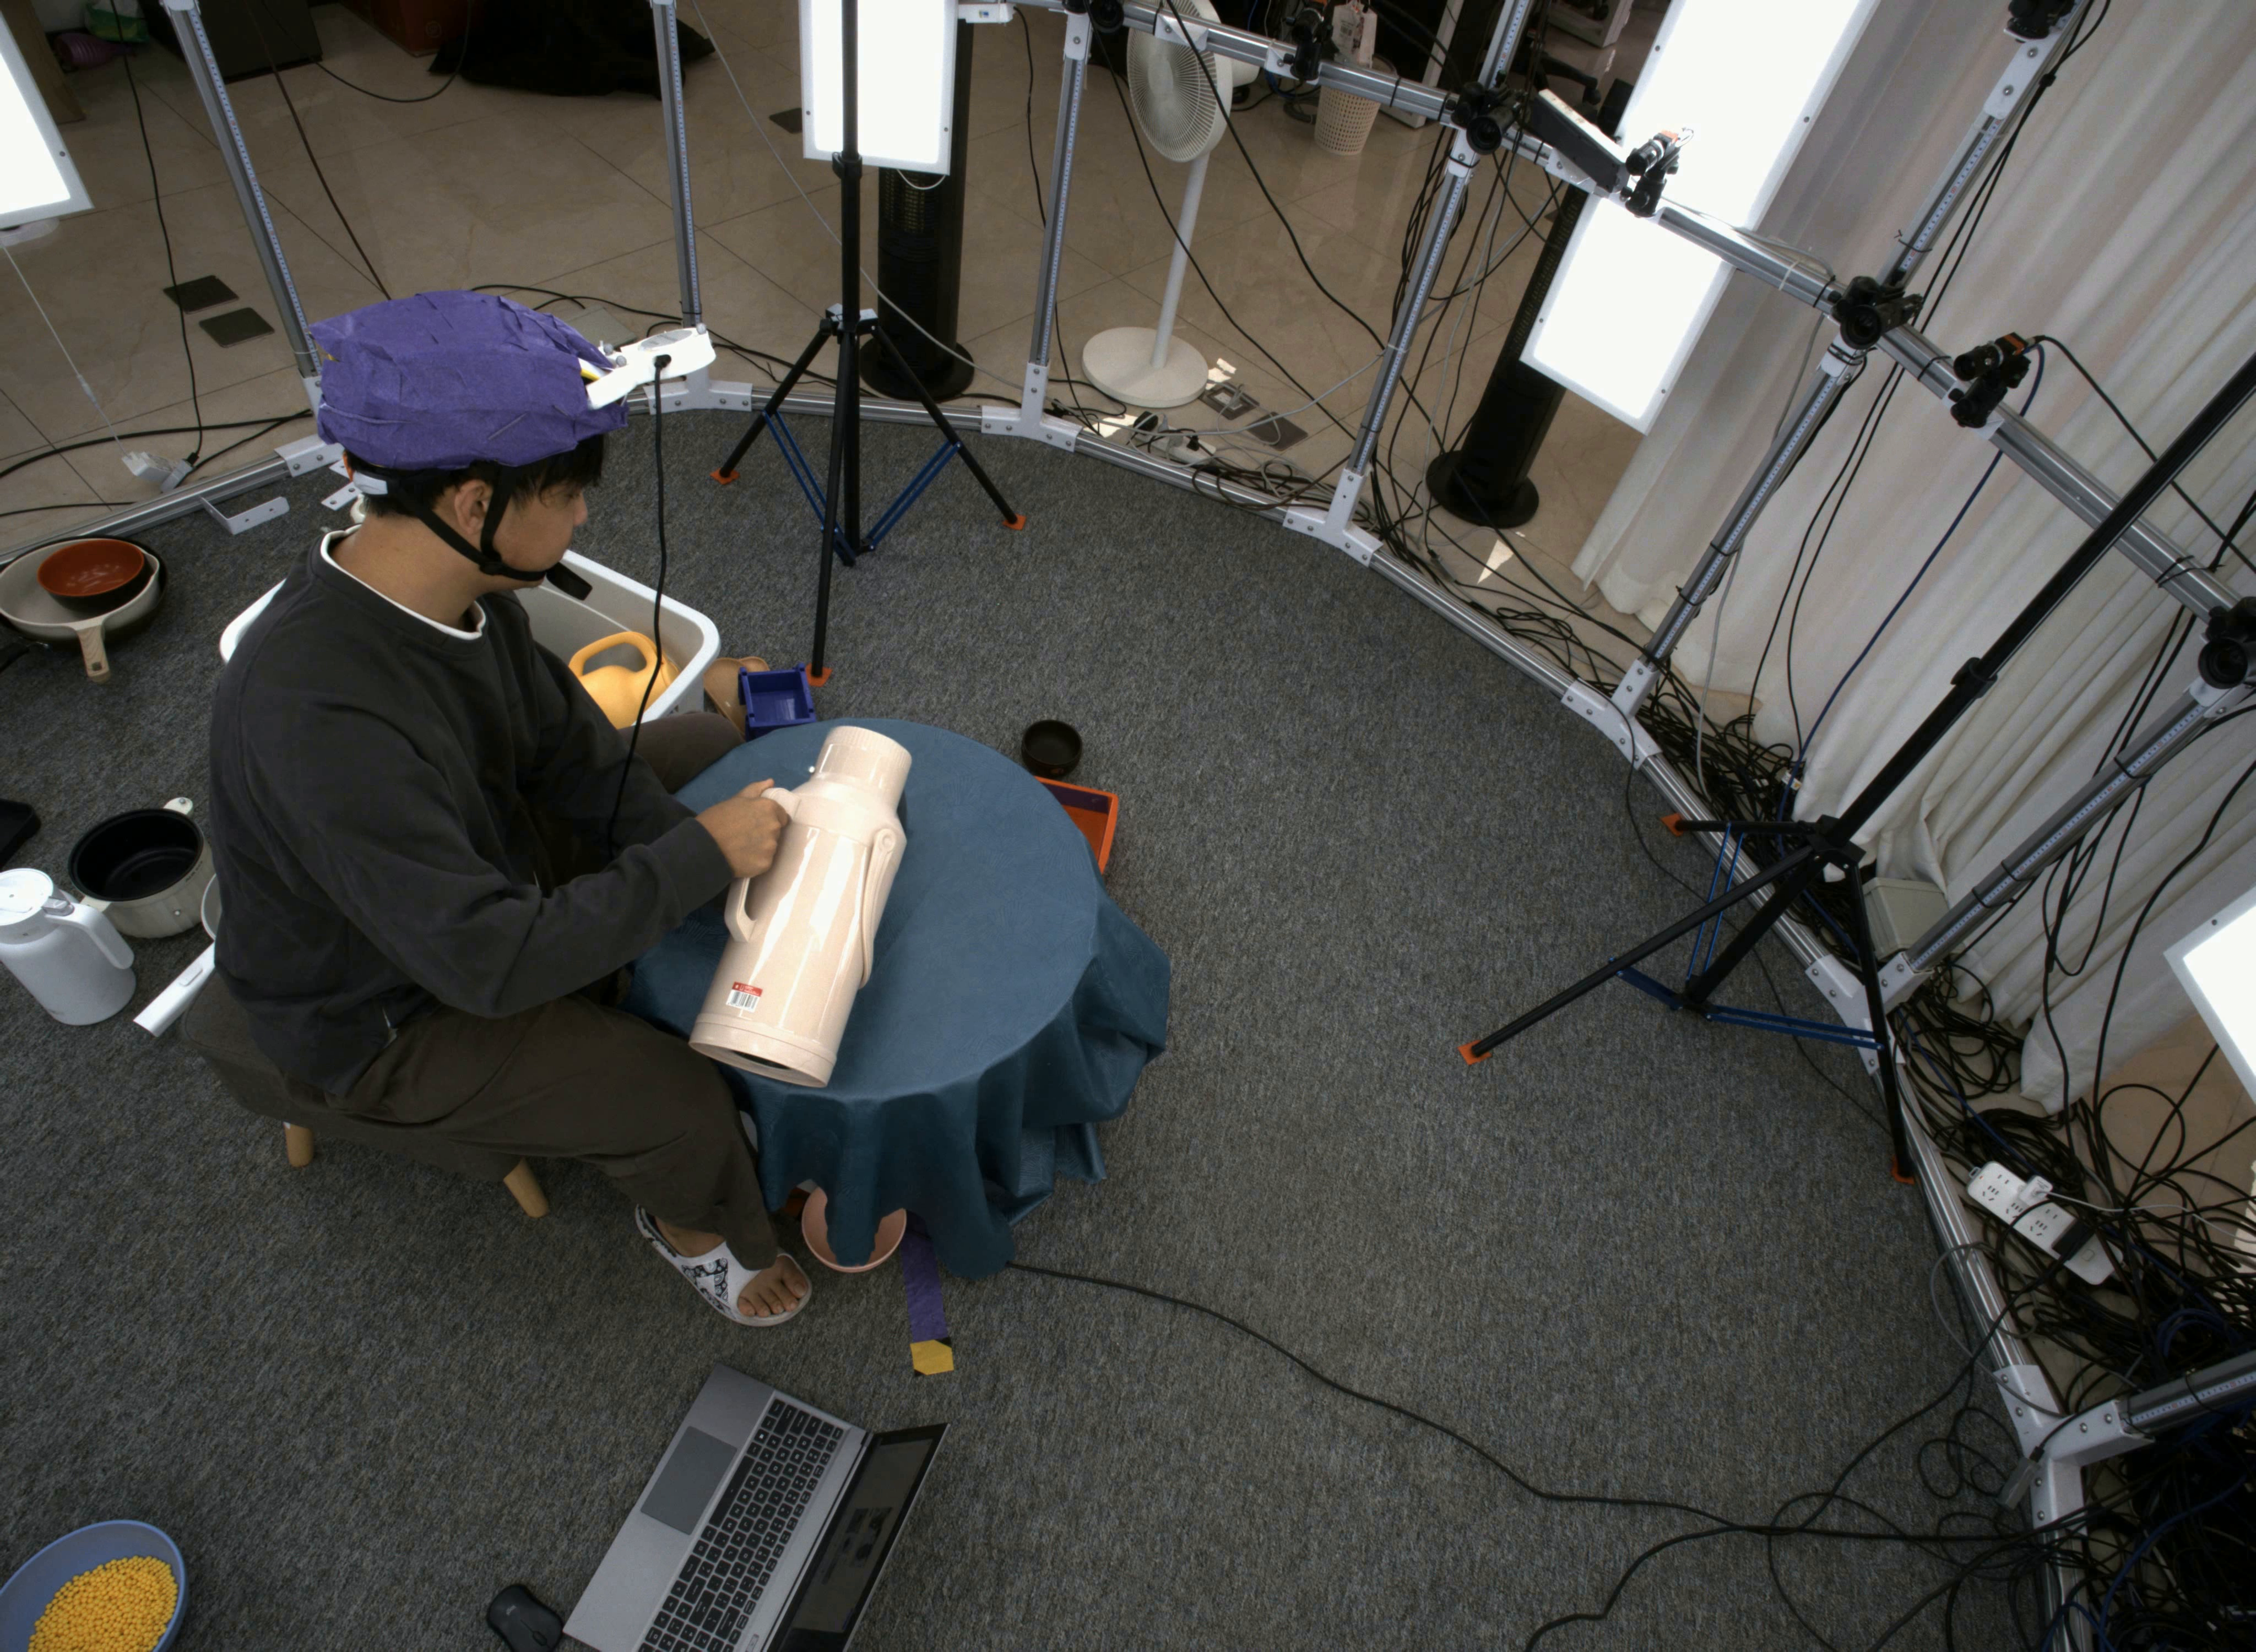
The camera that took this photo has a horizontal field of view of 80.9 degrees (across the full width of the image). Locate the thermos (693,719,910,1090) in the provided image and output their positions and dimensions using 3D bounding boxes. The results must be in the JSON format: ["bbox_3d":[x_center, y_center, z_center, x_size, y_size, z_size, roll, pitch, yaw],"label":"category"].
[{"bbox_3d":[-0.364,0.076,1.469,0.169,0.214,0.405,1,66,35],"label":"thermos"}]

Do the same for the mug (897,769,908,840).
[{"bbox_3d":[-0.342,-0.042,1.714,0.094,0.092,0.120,-13,57,-21],"label":"mug"}]
